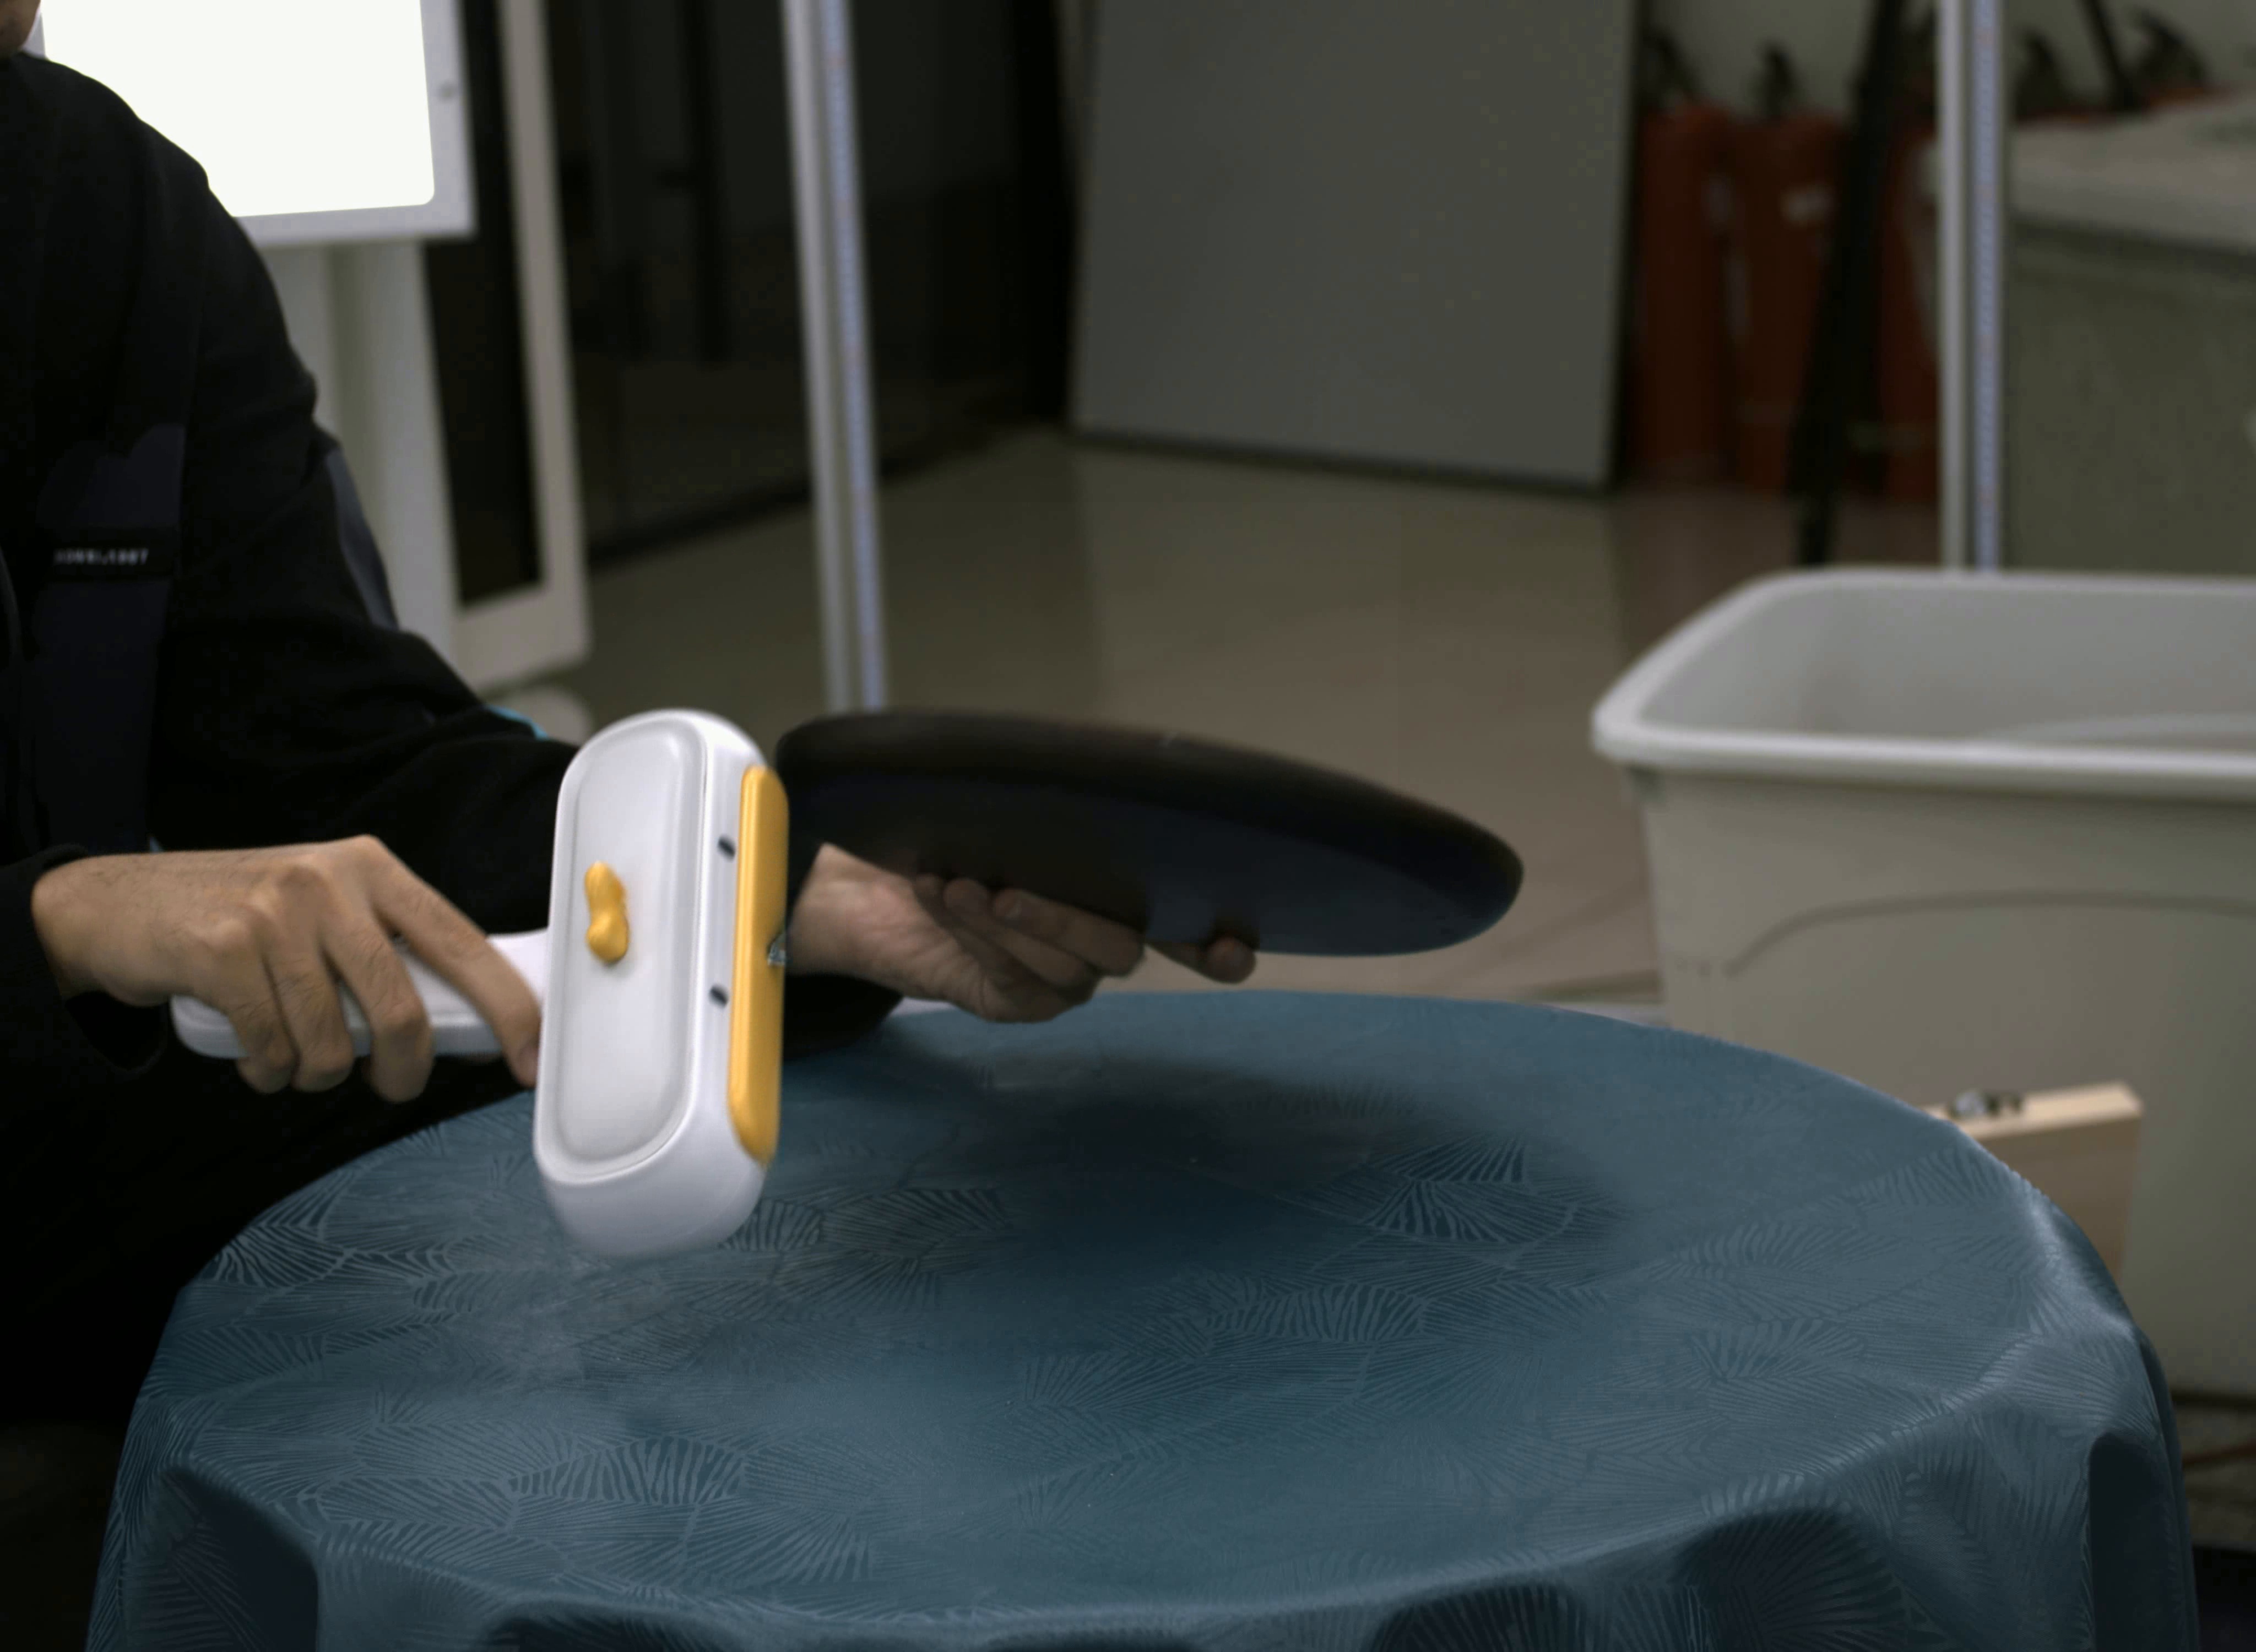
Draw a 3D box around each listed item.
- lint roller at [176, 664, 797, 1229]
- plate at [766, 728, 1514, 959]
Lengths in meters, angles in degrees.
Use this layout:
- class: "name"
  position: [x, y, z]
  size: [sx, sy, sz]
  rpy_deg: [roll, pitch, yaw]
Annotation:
- class: "lint roller"
  position: [-0.200, 0.046, 1.690]
  size: [0.191, 0.195, 0.073]
  rpy_deg: [-15, -34, 12]
- class: "plate"
  position: [0.002, 0.007, 1.778]
  size: [0.252, 0.029, 0.255]
  rpy_deg: [9, -13, 1]
